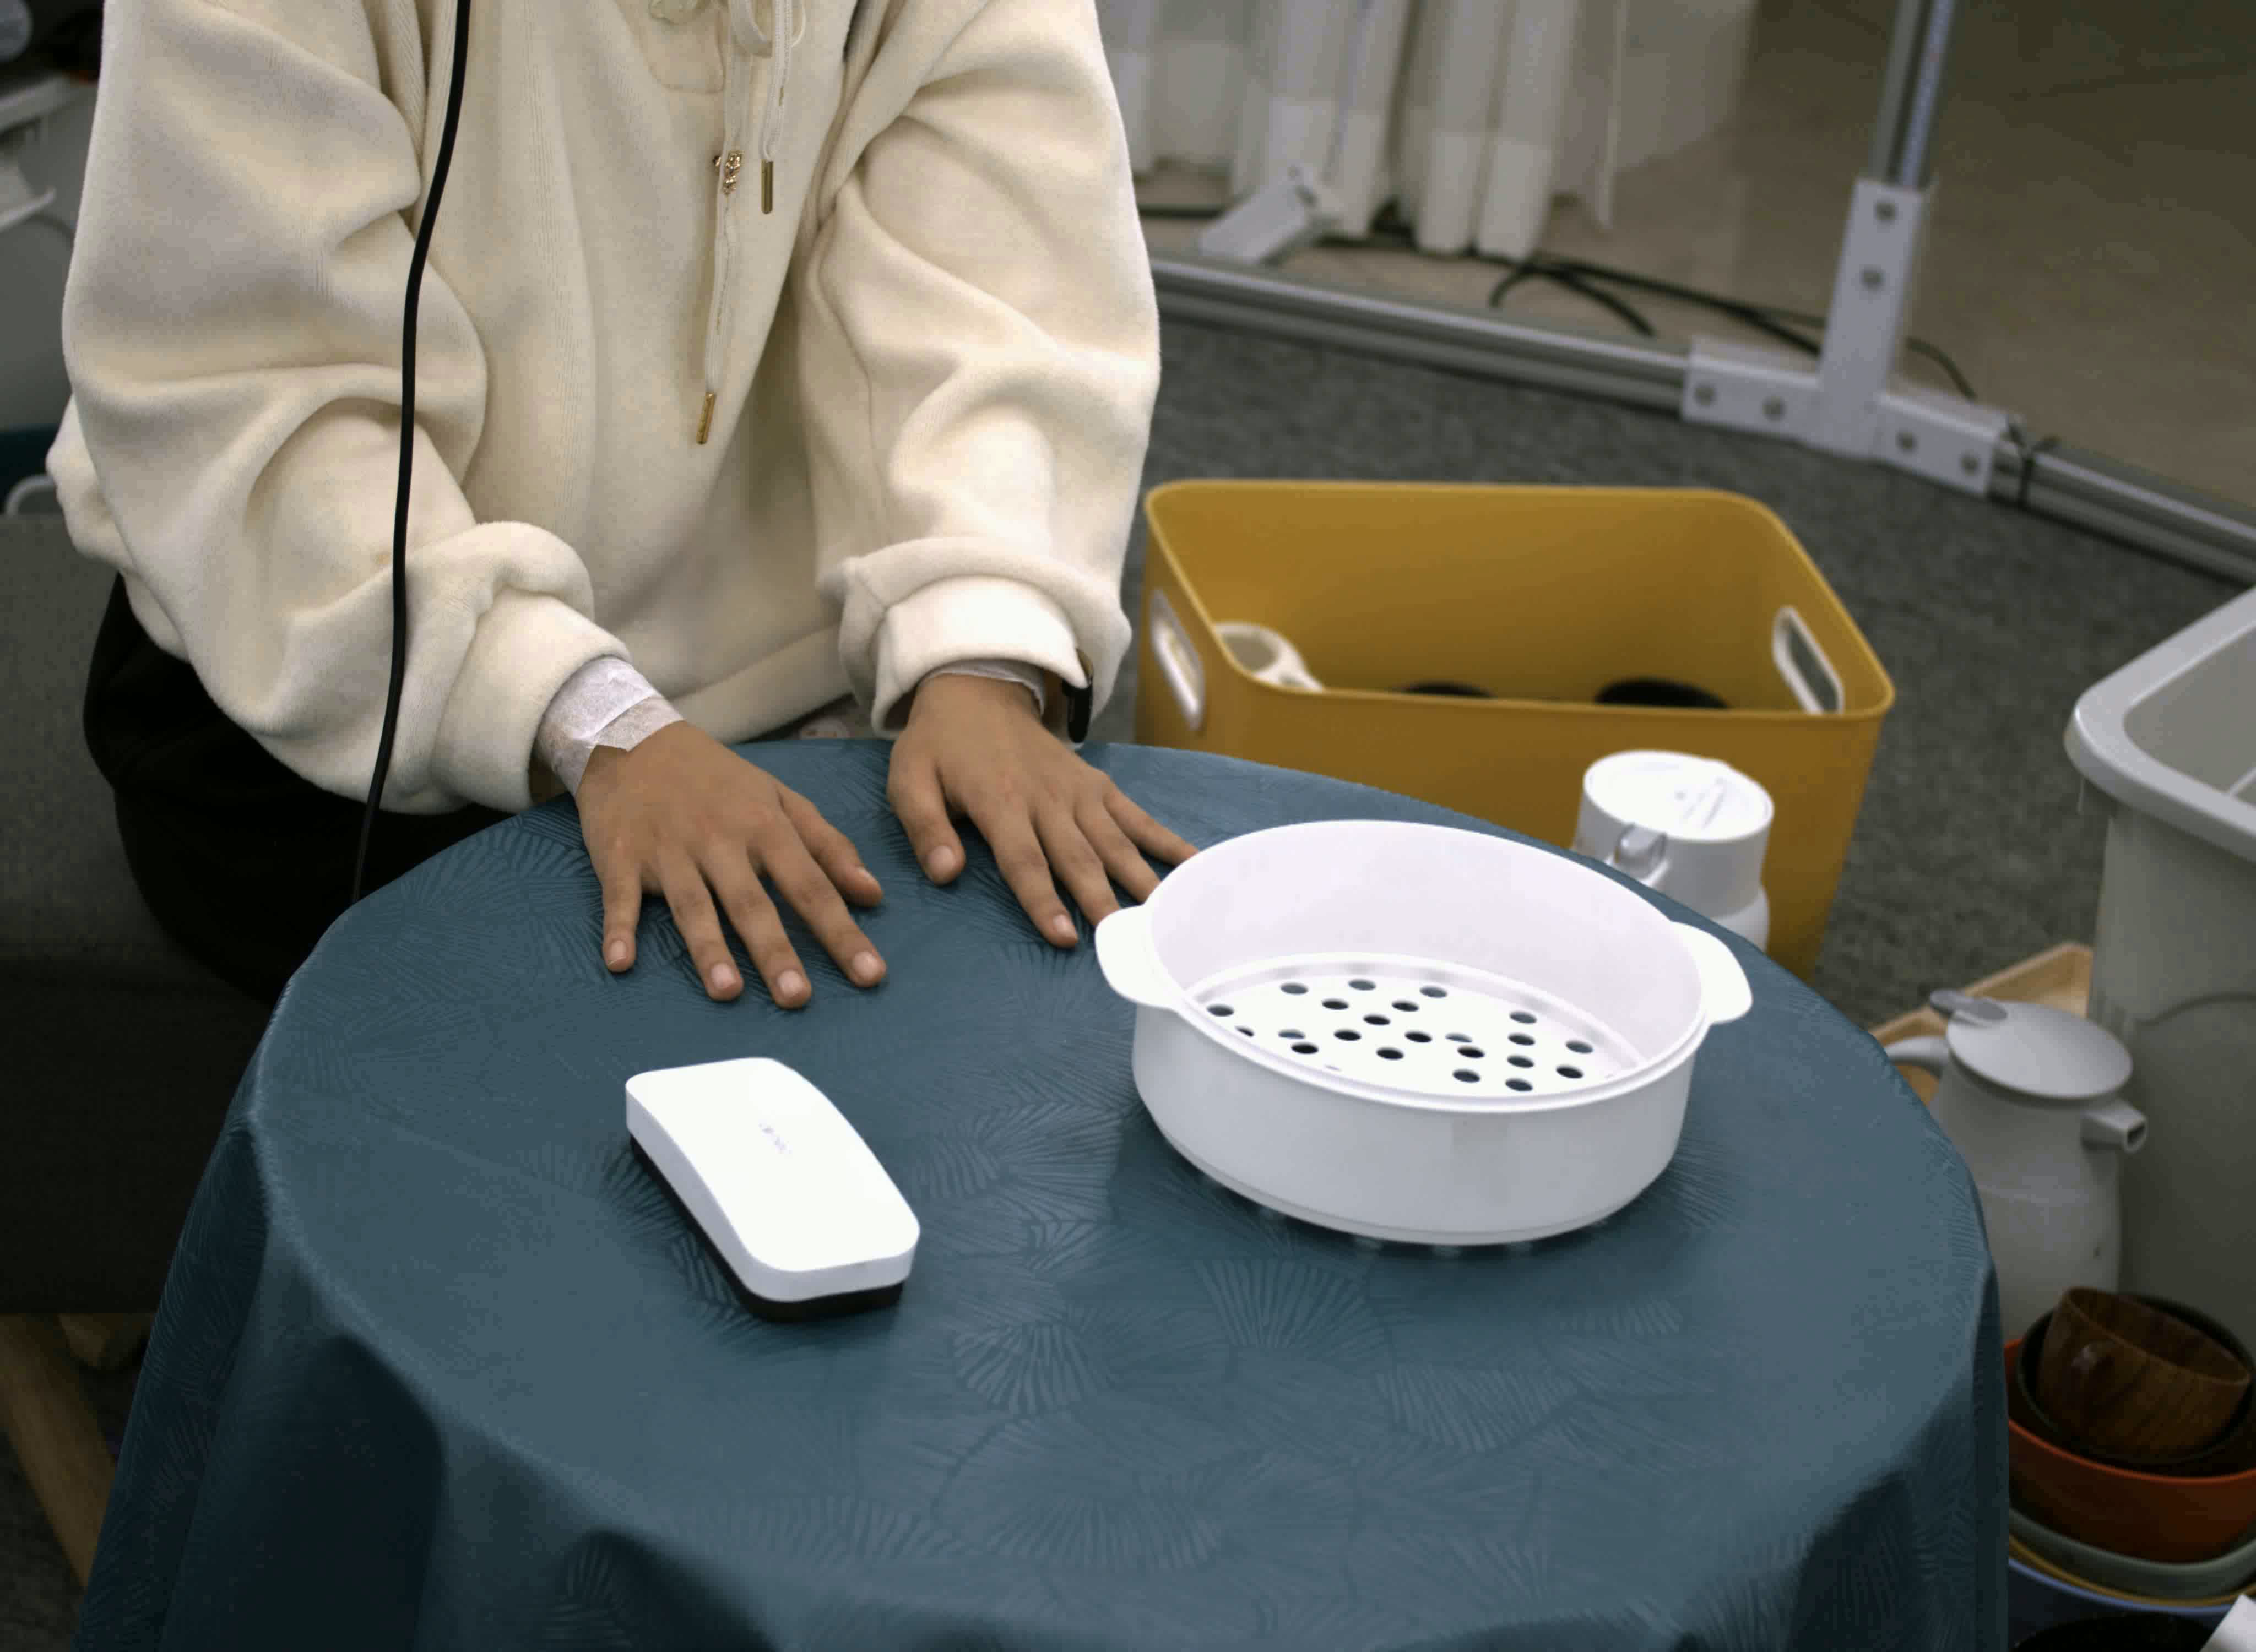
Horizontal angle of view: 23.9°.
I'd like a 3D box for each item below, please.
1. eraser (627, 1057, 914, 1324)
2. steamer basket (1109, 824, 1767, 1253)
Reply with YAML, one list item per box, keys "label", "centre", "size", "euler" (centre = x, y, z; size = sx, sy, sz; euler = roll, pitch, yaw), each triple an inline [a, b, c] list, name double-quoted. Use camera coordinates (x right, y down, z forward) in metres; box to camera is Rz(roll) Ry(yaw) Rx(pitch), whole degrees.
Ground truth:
- label: "eraser"
  centre: [-0.118, 0.116, 1.756]
  size: [0.063, 0.034, 0.132]
  euler: [-7, 30, -24]
- label: "steamer basket"
  centre: [0.104, 0.073, 1.851]
  size: [0.229, 0.069, 0.203]
  euler: [3, 27, -10]
